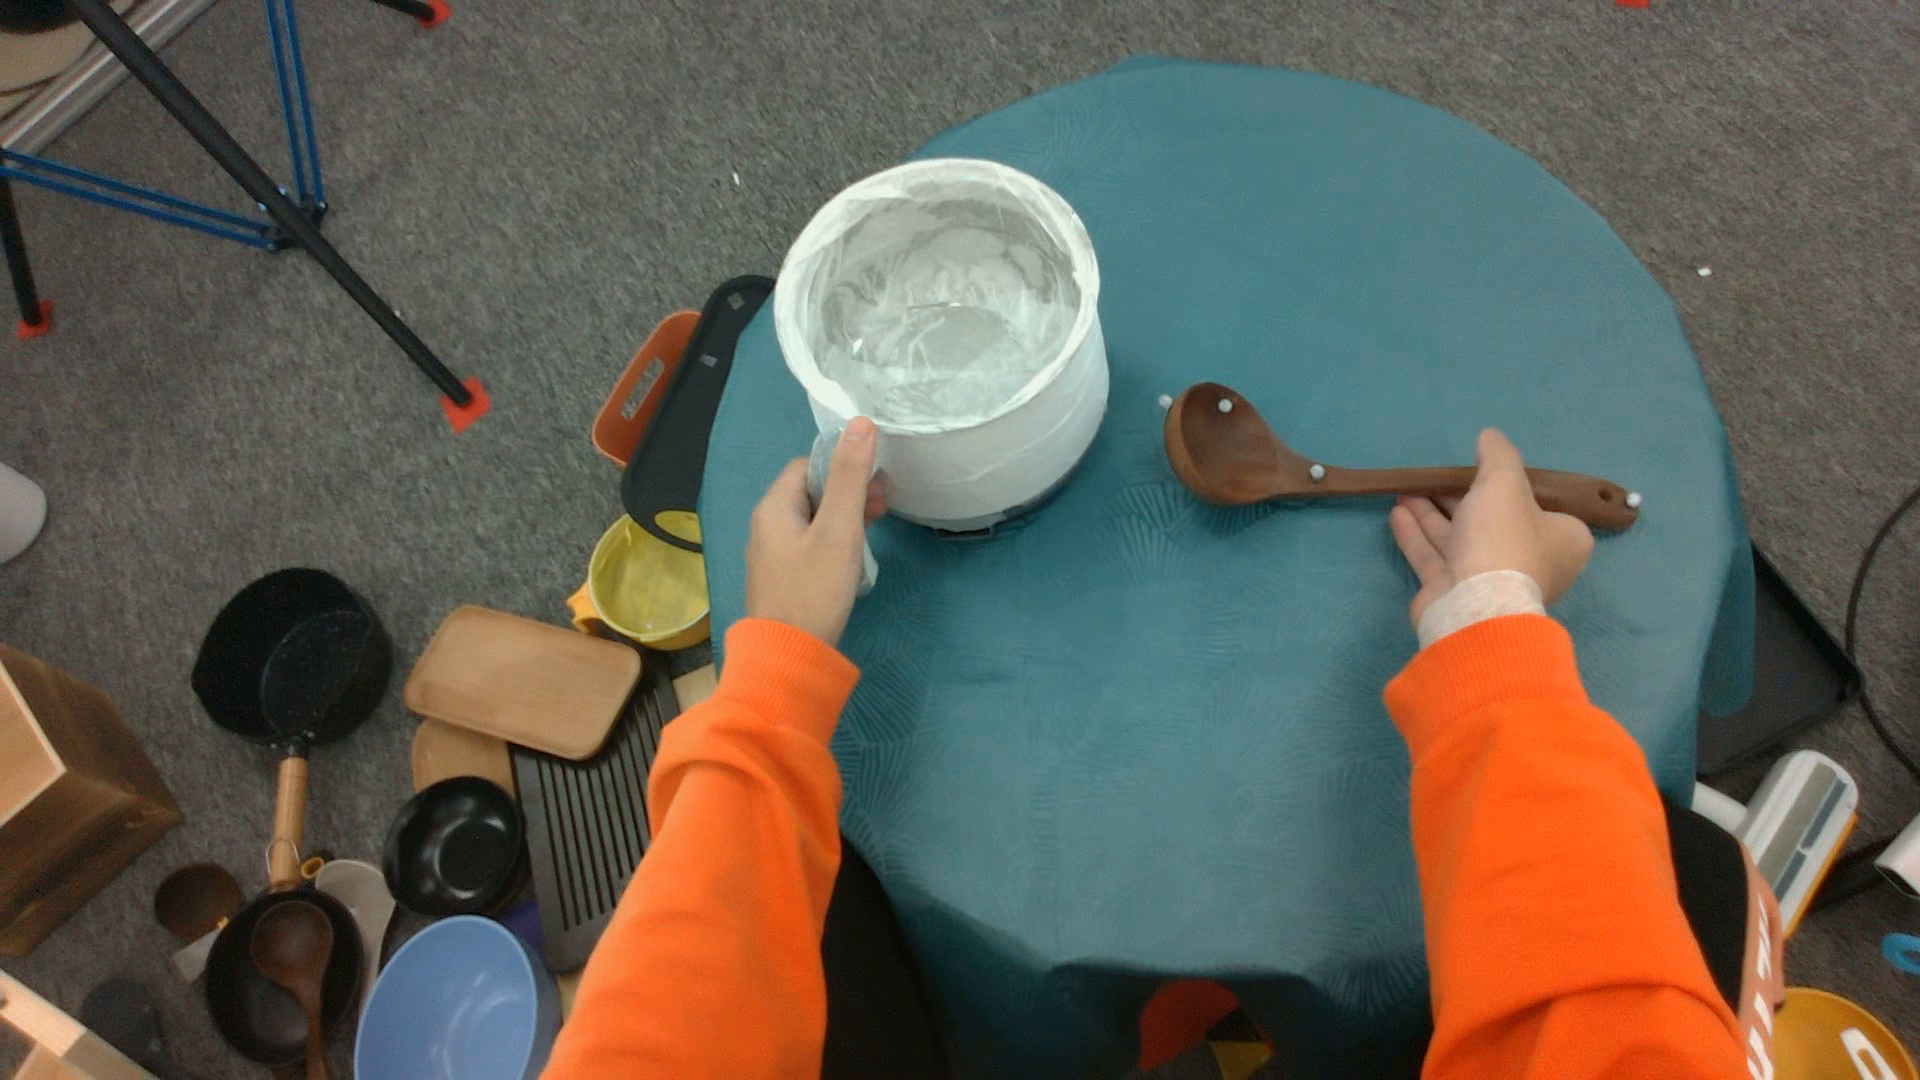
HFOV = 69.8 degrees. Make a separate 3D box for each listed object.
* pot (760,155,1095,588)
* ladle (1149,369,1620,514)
[{"bbox_3d":[-0.026,-0.088,0.786,0.178,0.136,0.234,23,70,19],"label":"pot"},{"bbox_3d":[0.236,-0.049,0.768,0.260,0.065,0.077,6,62,12],"label":"ladle"}]
